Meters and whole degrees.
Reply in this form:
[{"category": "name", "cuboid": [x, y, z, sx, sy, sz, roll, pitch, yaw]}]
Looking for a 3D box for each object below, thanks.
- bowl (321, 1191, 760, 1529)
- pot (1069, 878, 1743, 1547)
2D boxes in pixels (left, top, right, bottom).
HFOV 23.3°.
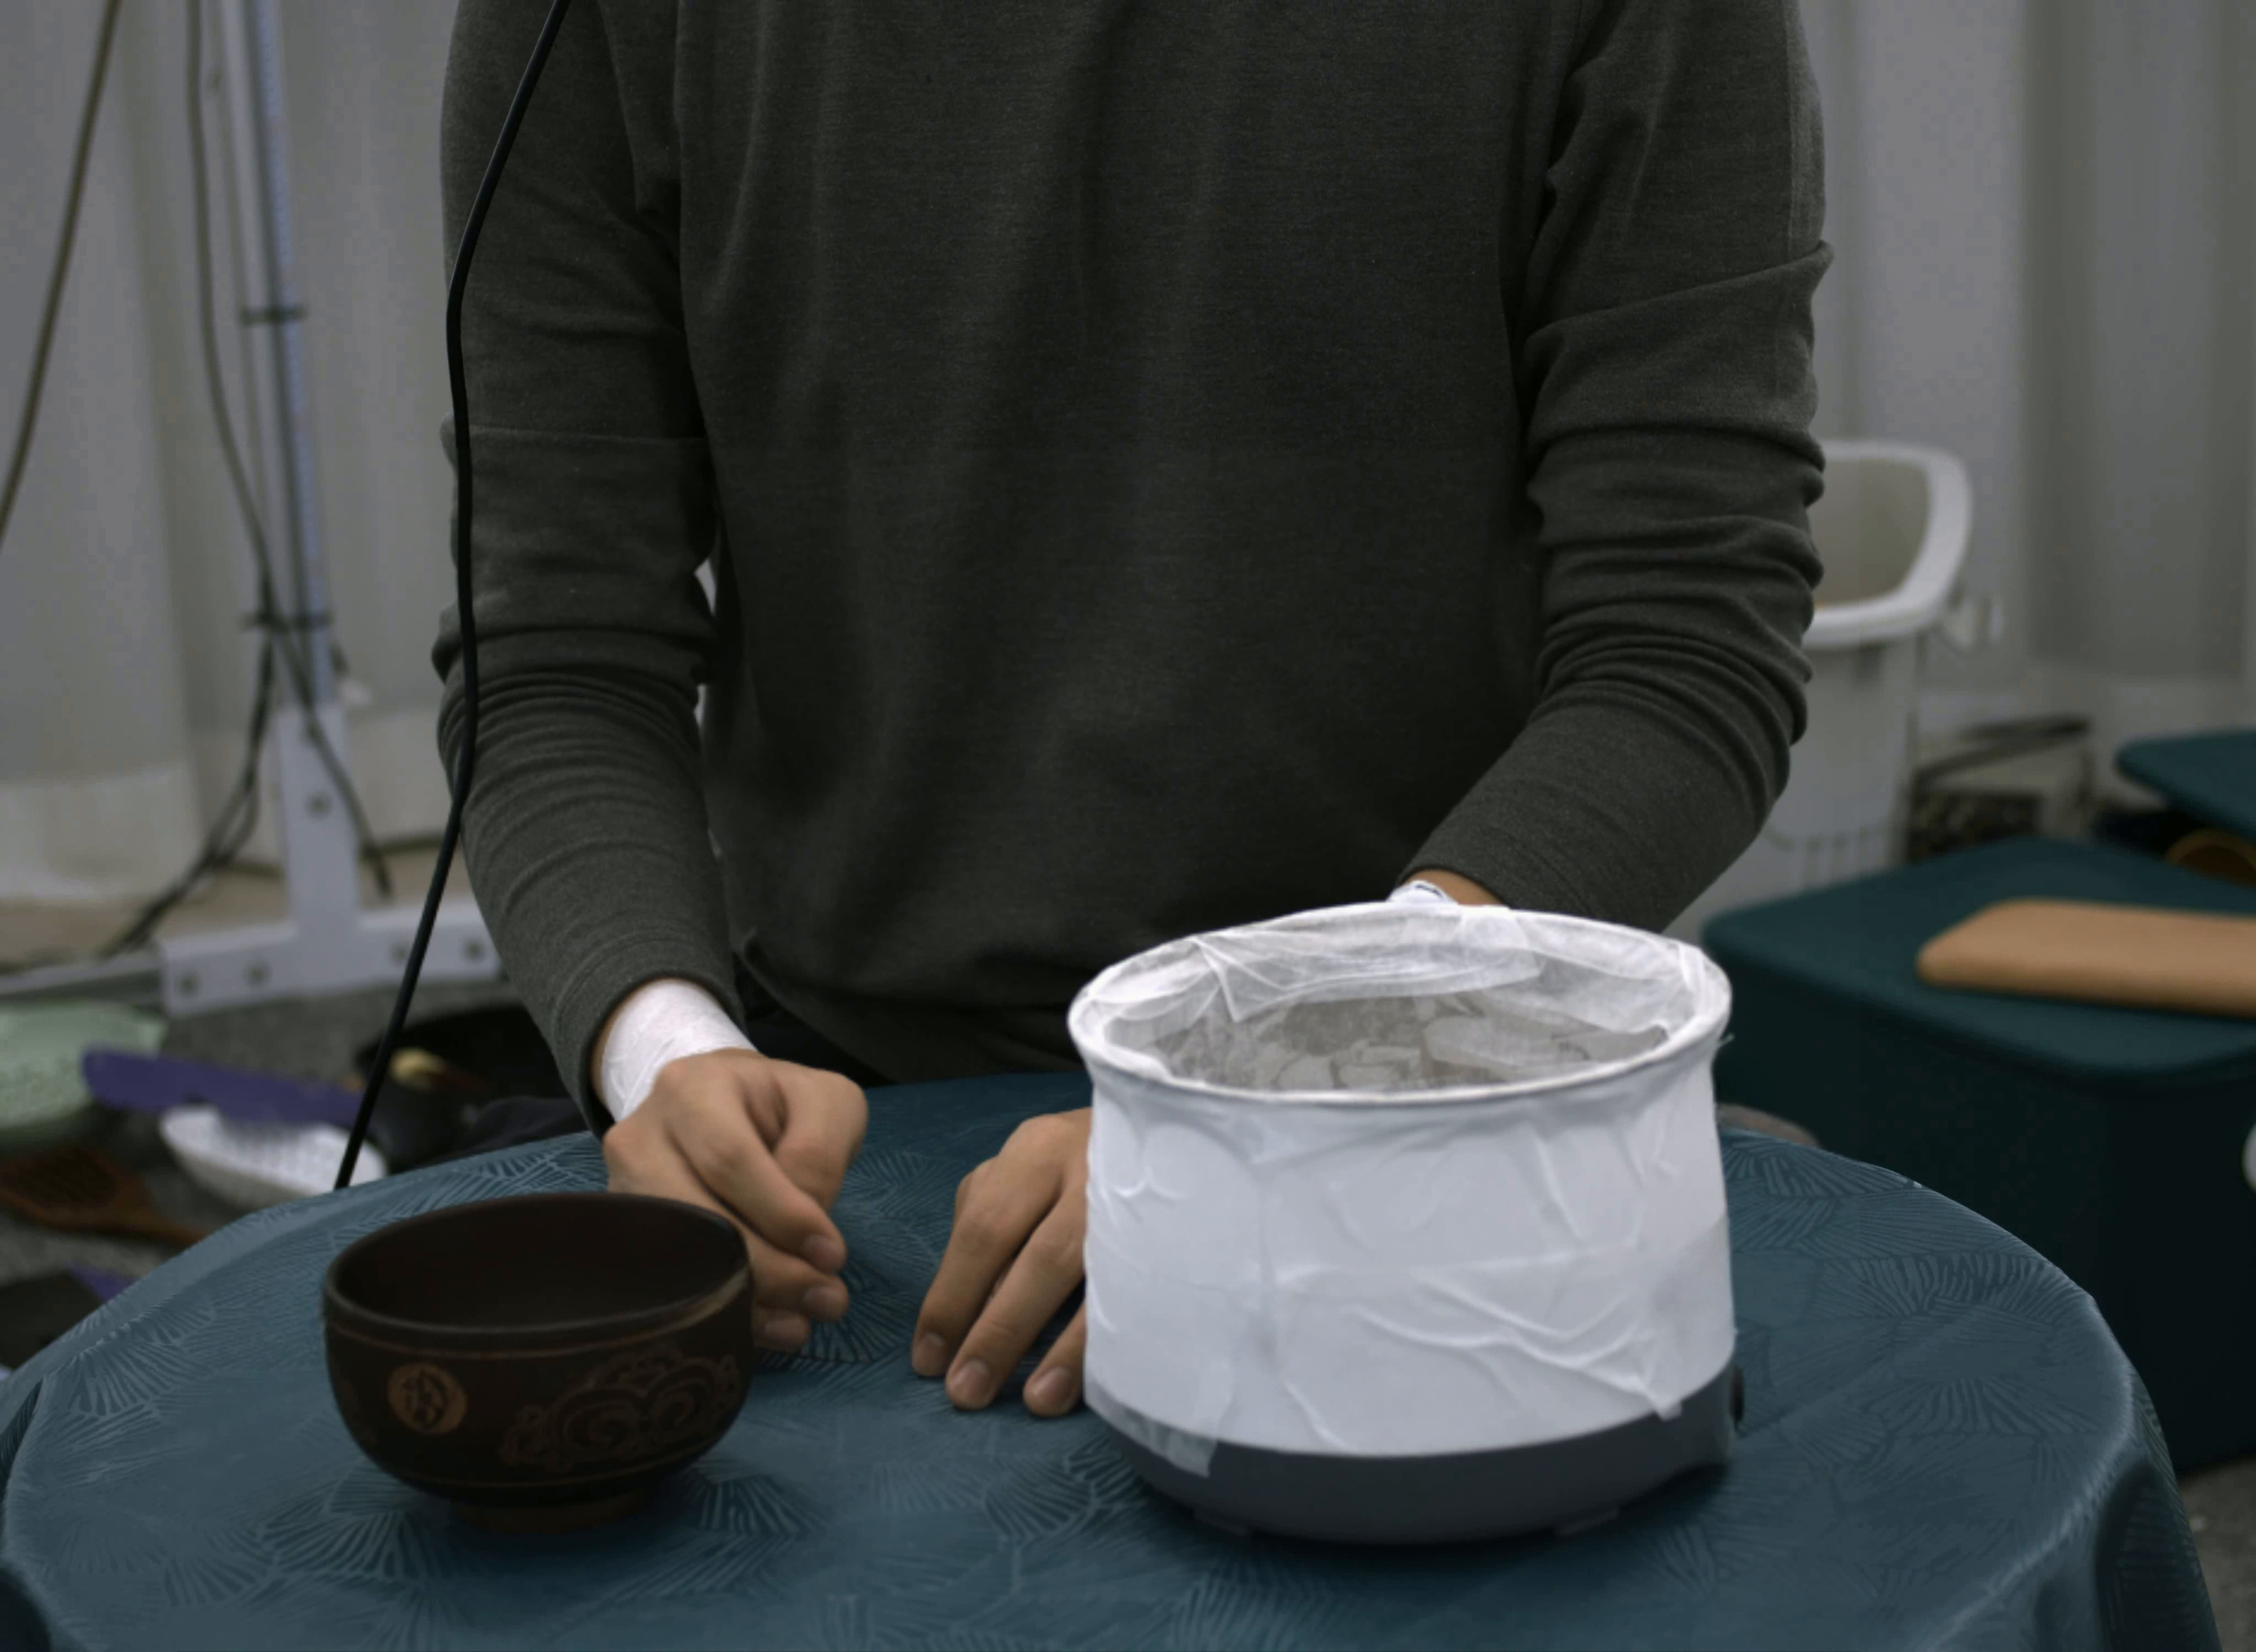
[{"category": "bowl", "cuboid": [-0.157, 0.148, 1.480, 0.117, 0.069, 0.118, -3, 12, 0]}, {"category": "pot", "cuboid": [0.077, 0.099, 1.494, 0.178, 0.136, 0.235, -1, 14, 6]}]
